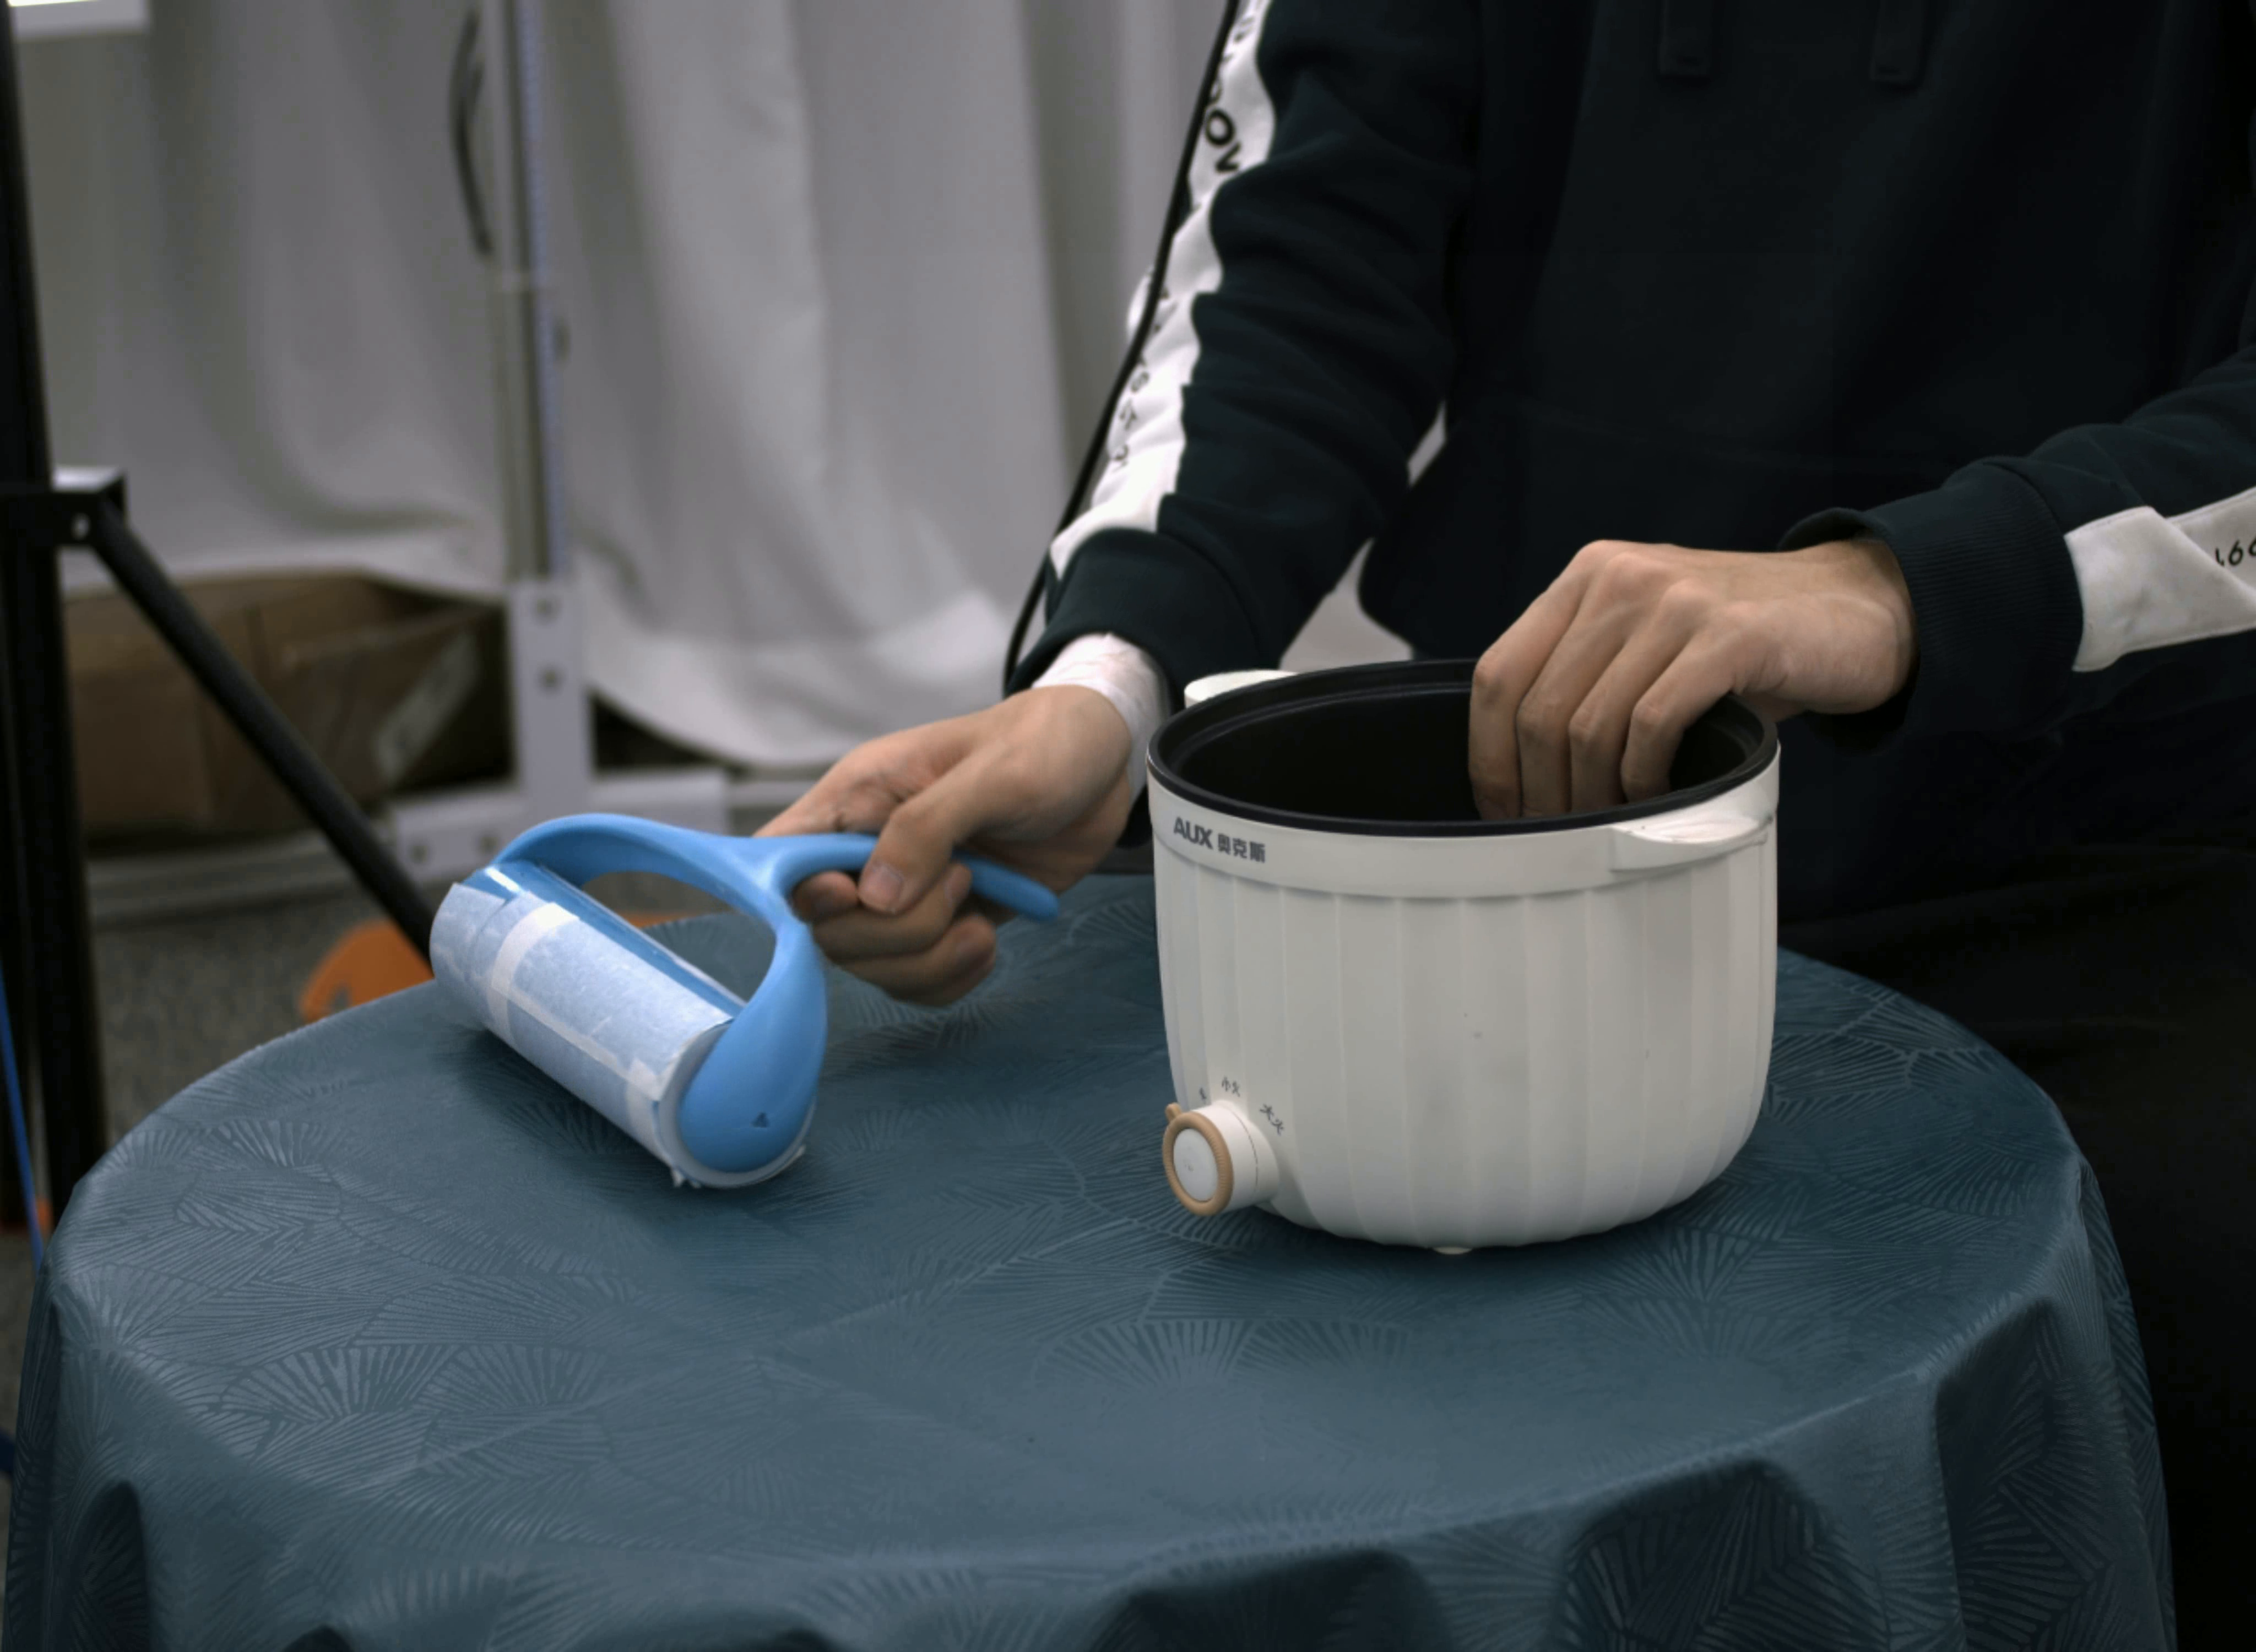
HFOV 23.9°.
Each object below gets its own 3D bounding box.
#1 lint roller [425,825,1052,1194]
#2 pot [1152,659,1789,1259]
[{"bbox_3d":[-0.111,0.038,1.676,0.177,0.067,0.233,-24,21,-22],"label":"lint roller"},{"bbox_3d":[0.095,0.040,1.526,0.186,0.143,0.246,-10,16,-35],"label":"pot"}]
